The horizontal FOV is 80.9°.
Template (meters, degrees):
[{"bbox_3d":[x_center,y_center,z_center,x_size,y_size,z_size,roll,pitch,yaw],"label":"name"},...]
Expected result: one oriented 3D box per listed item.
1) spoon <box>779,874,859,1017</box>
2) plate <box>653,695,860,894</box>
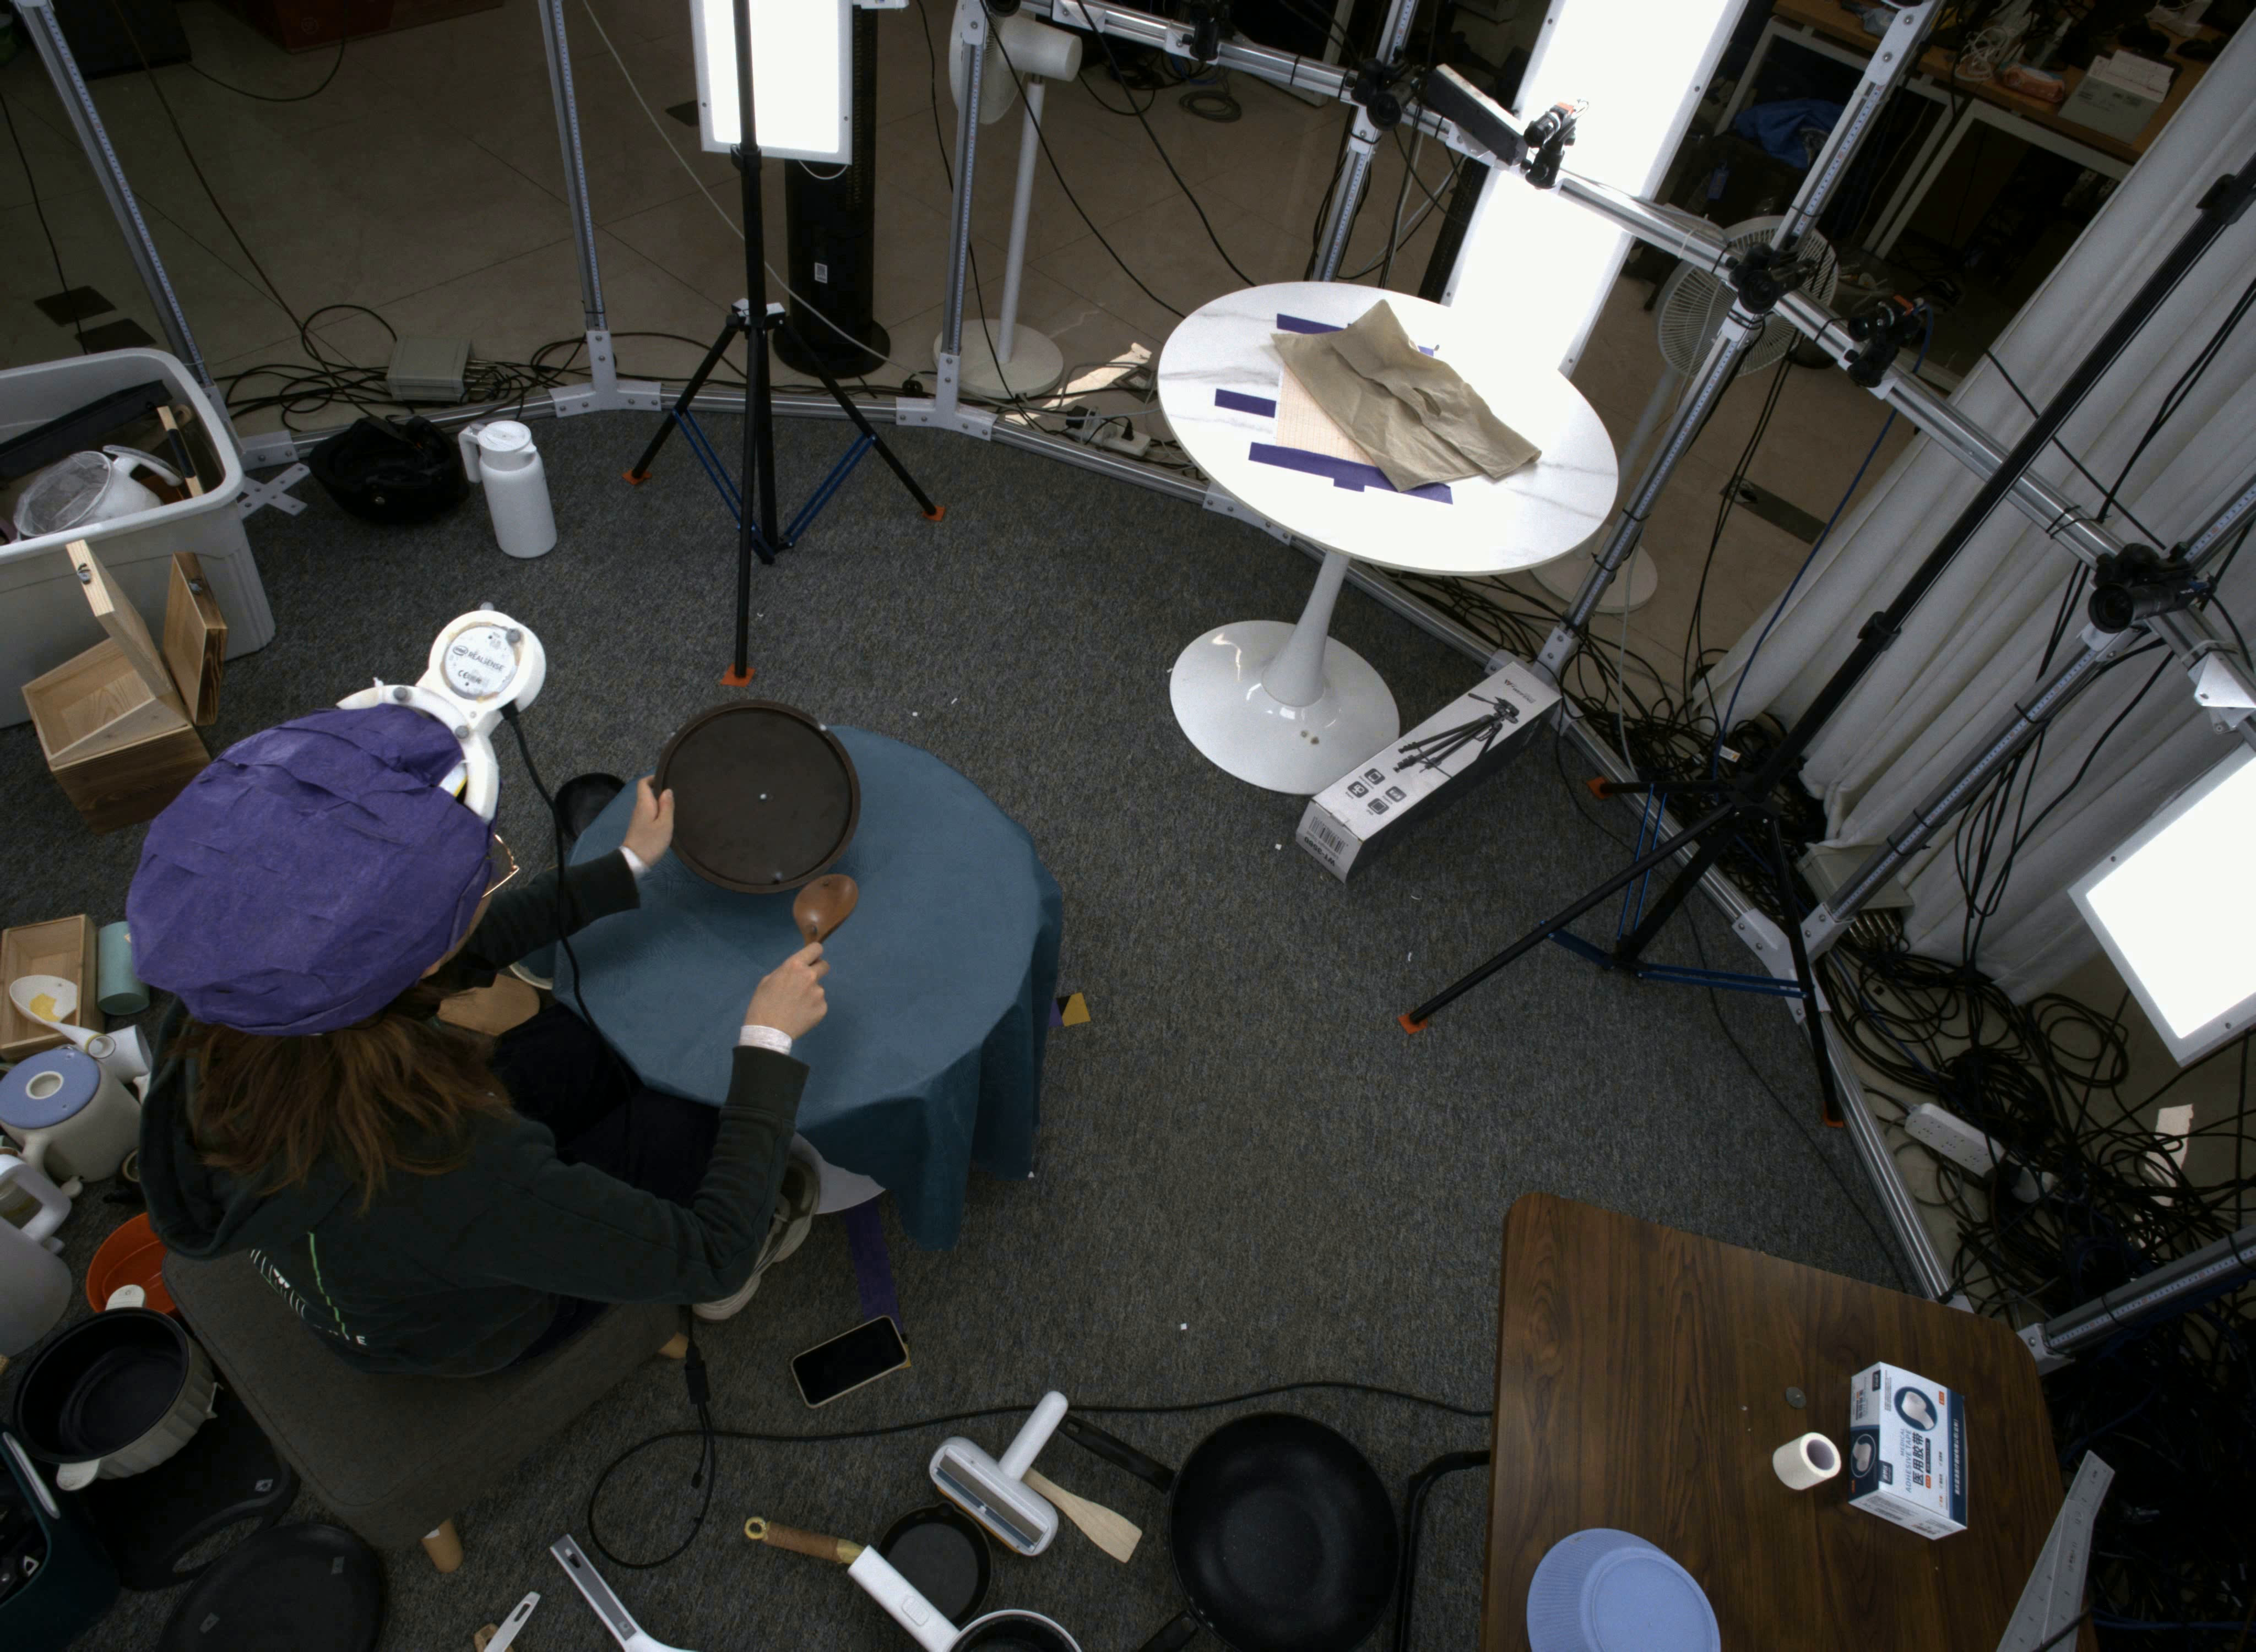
[{"bbox_3d":[-0.349,0.126,1.432,0.074,0.018,0.211,0,40,5],"label":"spoon"},{"bbox_3d":[-0.461,-0.040,1.611,0.257,0.029,0.253,8,71,-21],"label":"plate"}]
